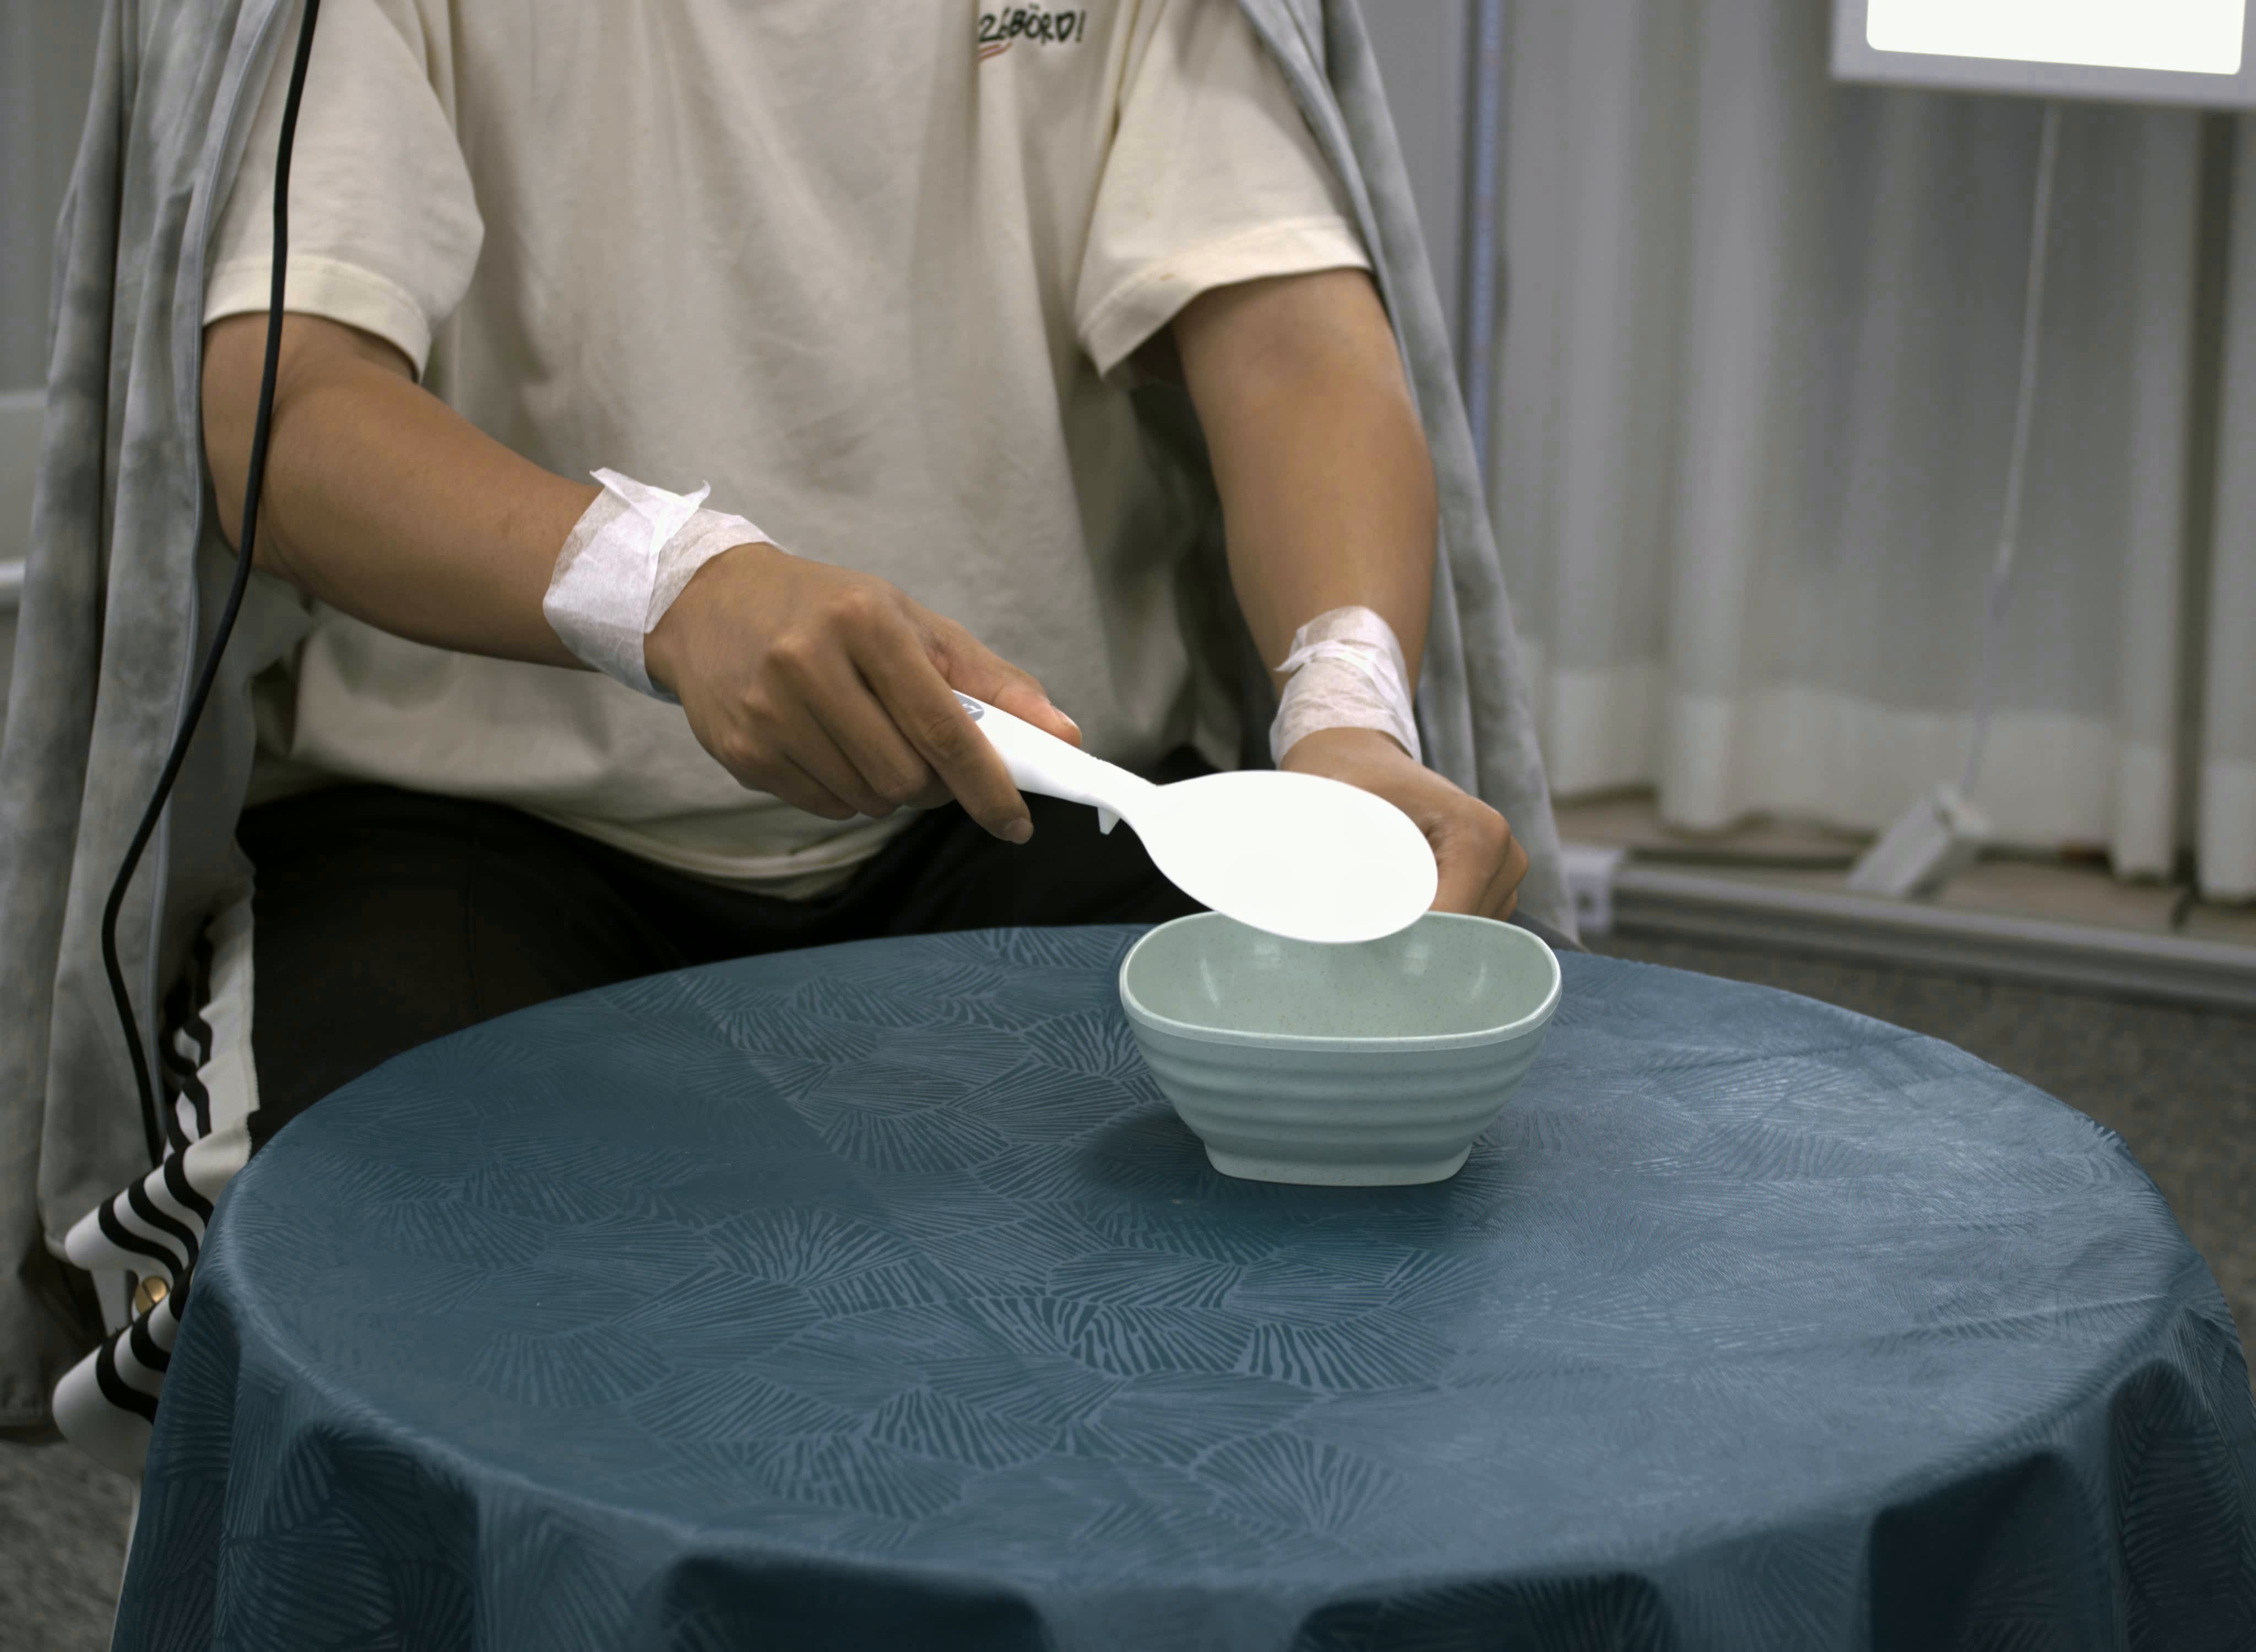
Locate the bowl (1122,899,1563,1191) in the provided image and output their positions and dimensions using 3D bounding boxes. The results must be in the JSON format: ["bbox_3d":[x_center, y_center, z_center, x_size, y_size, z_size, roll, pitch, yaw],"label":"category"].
[{"bbox_3d":[0.068,0.072,1.664,0.151,0.059,0.150,0,19,1],"label":"bowl"}]

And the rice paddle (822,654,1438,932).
[{"bbox_3d":[0.001,-0.012,1.637,0.203,0.030,0.068,18,52,19],"label":"rice paddle"}]
